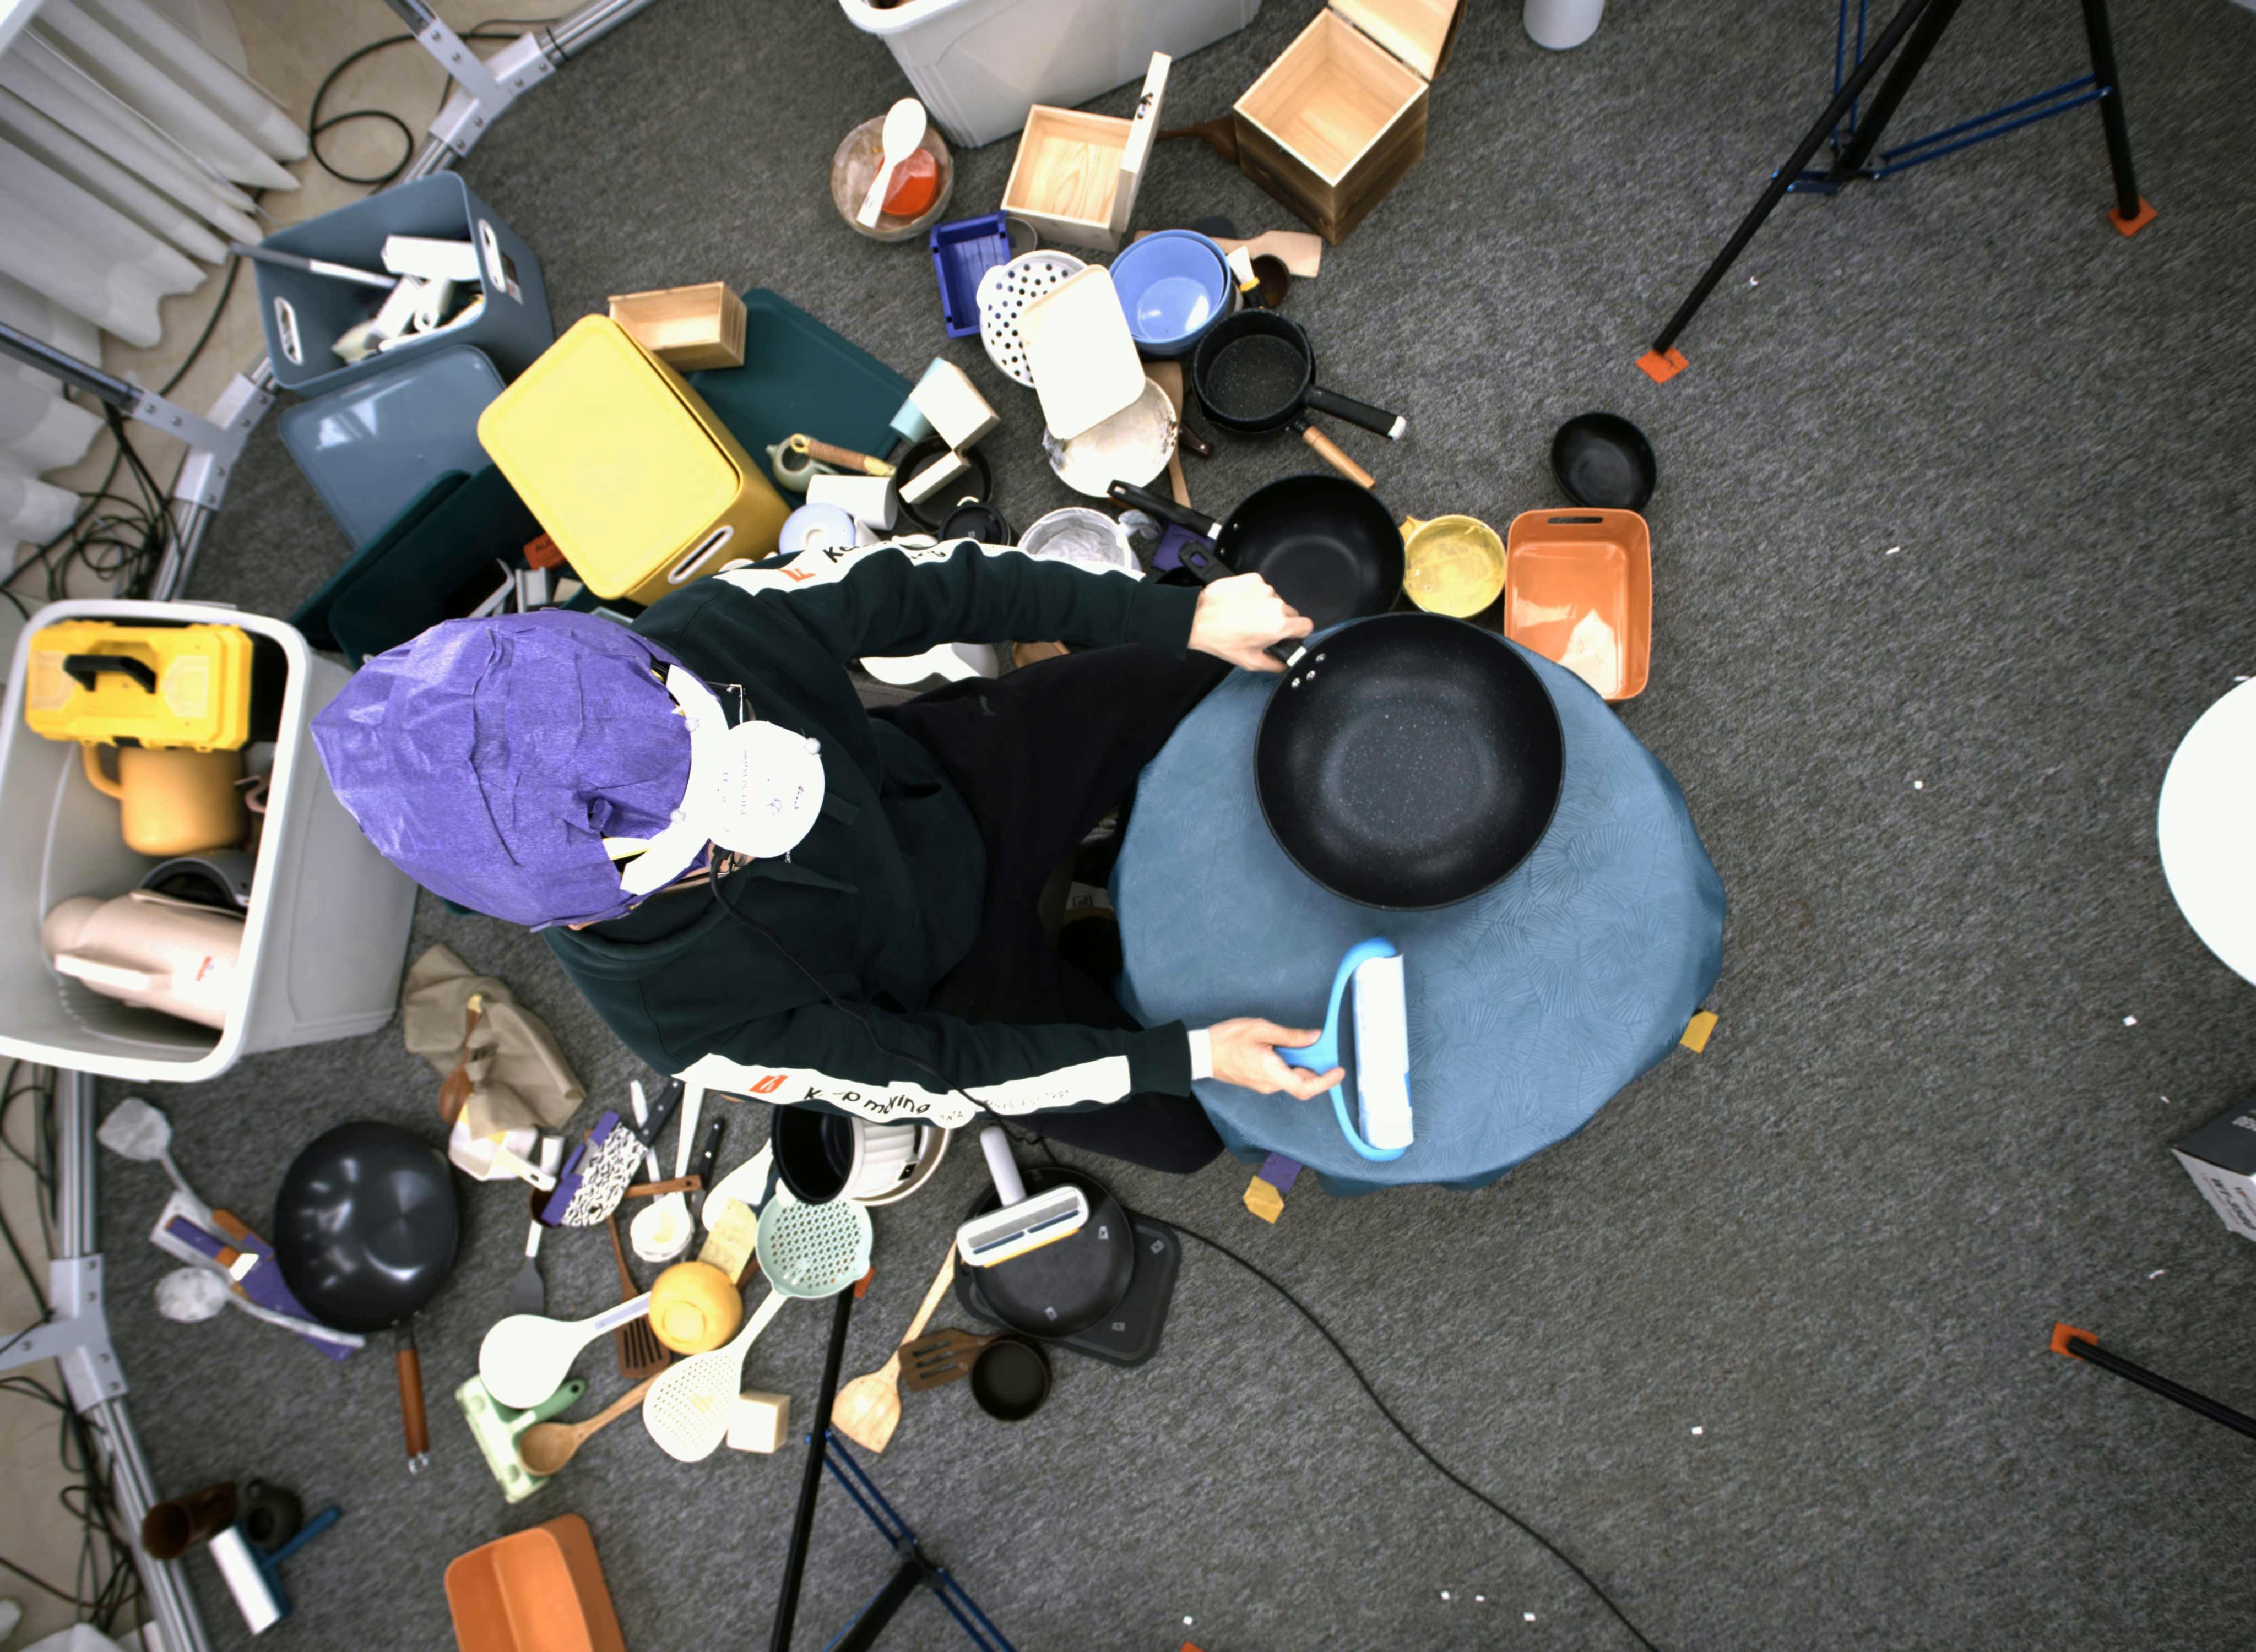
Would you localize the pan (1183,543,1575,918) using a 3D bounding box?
[{"bbox_3d":[0.235,-0.116,1.418,0.311,0.112,0.474,-45,77,3],"label":"pan"}]

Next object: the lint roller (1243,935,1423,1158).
[{"bbox_3d":[0.206,0.231,1.417,0.181,0.067,0.229,-8,95,10],"label":"lint roller"}]
